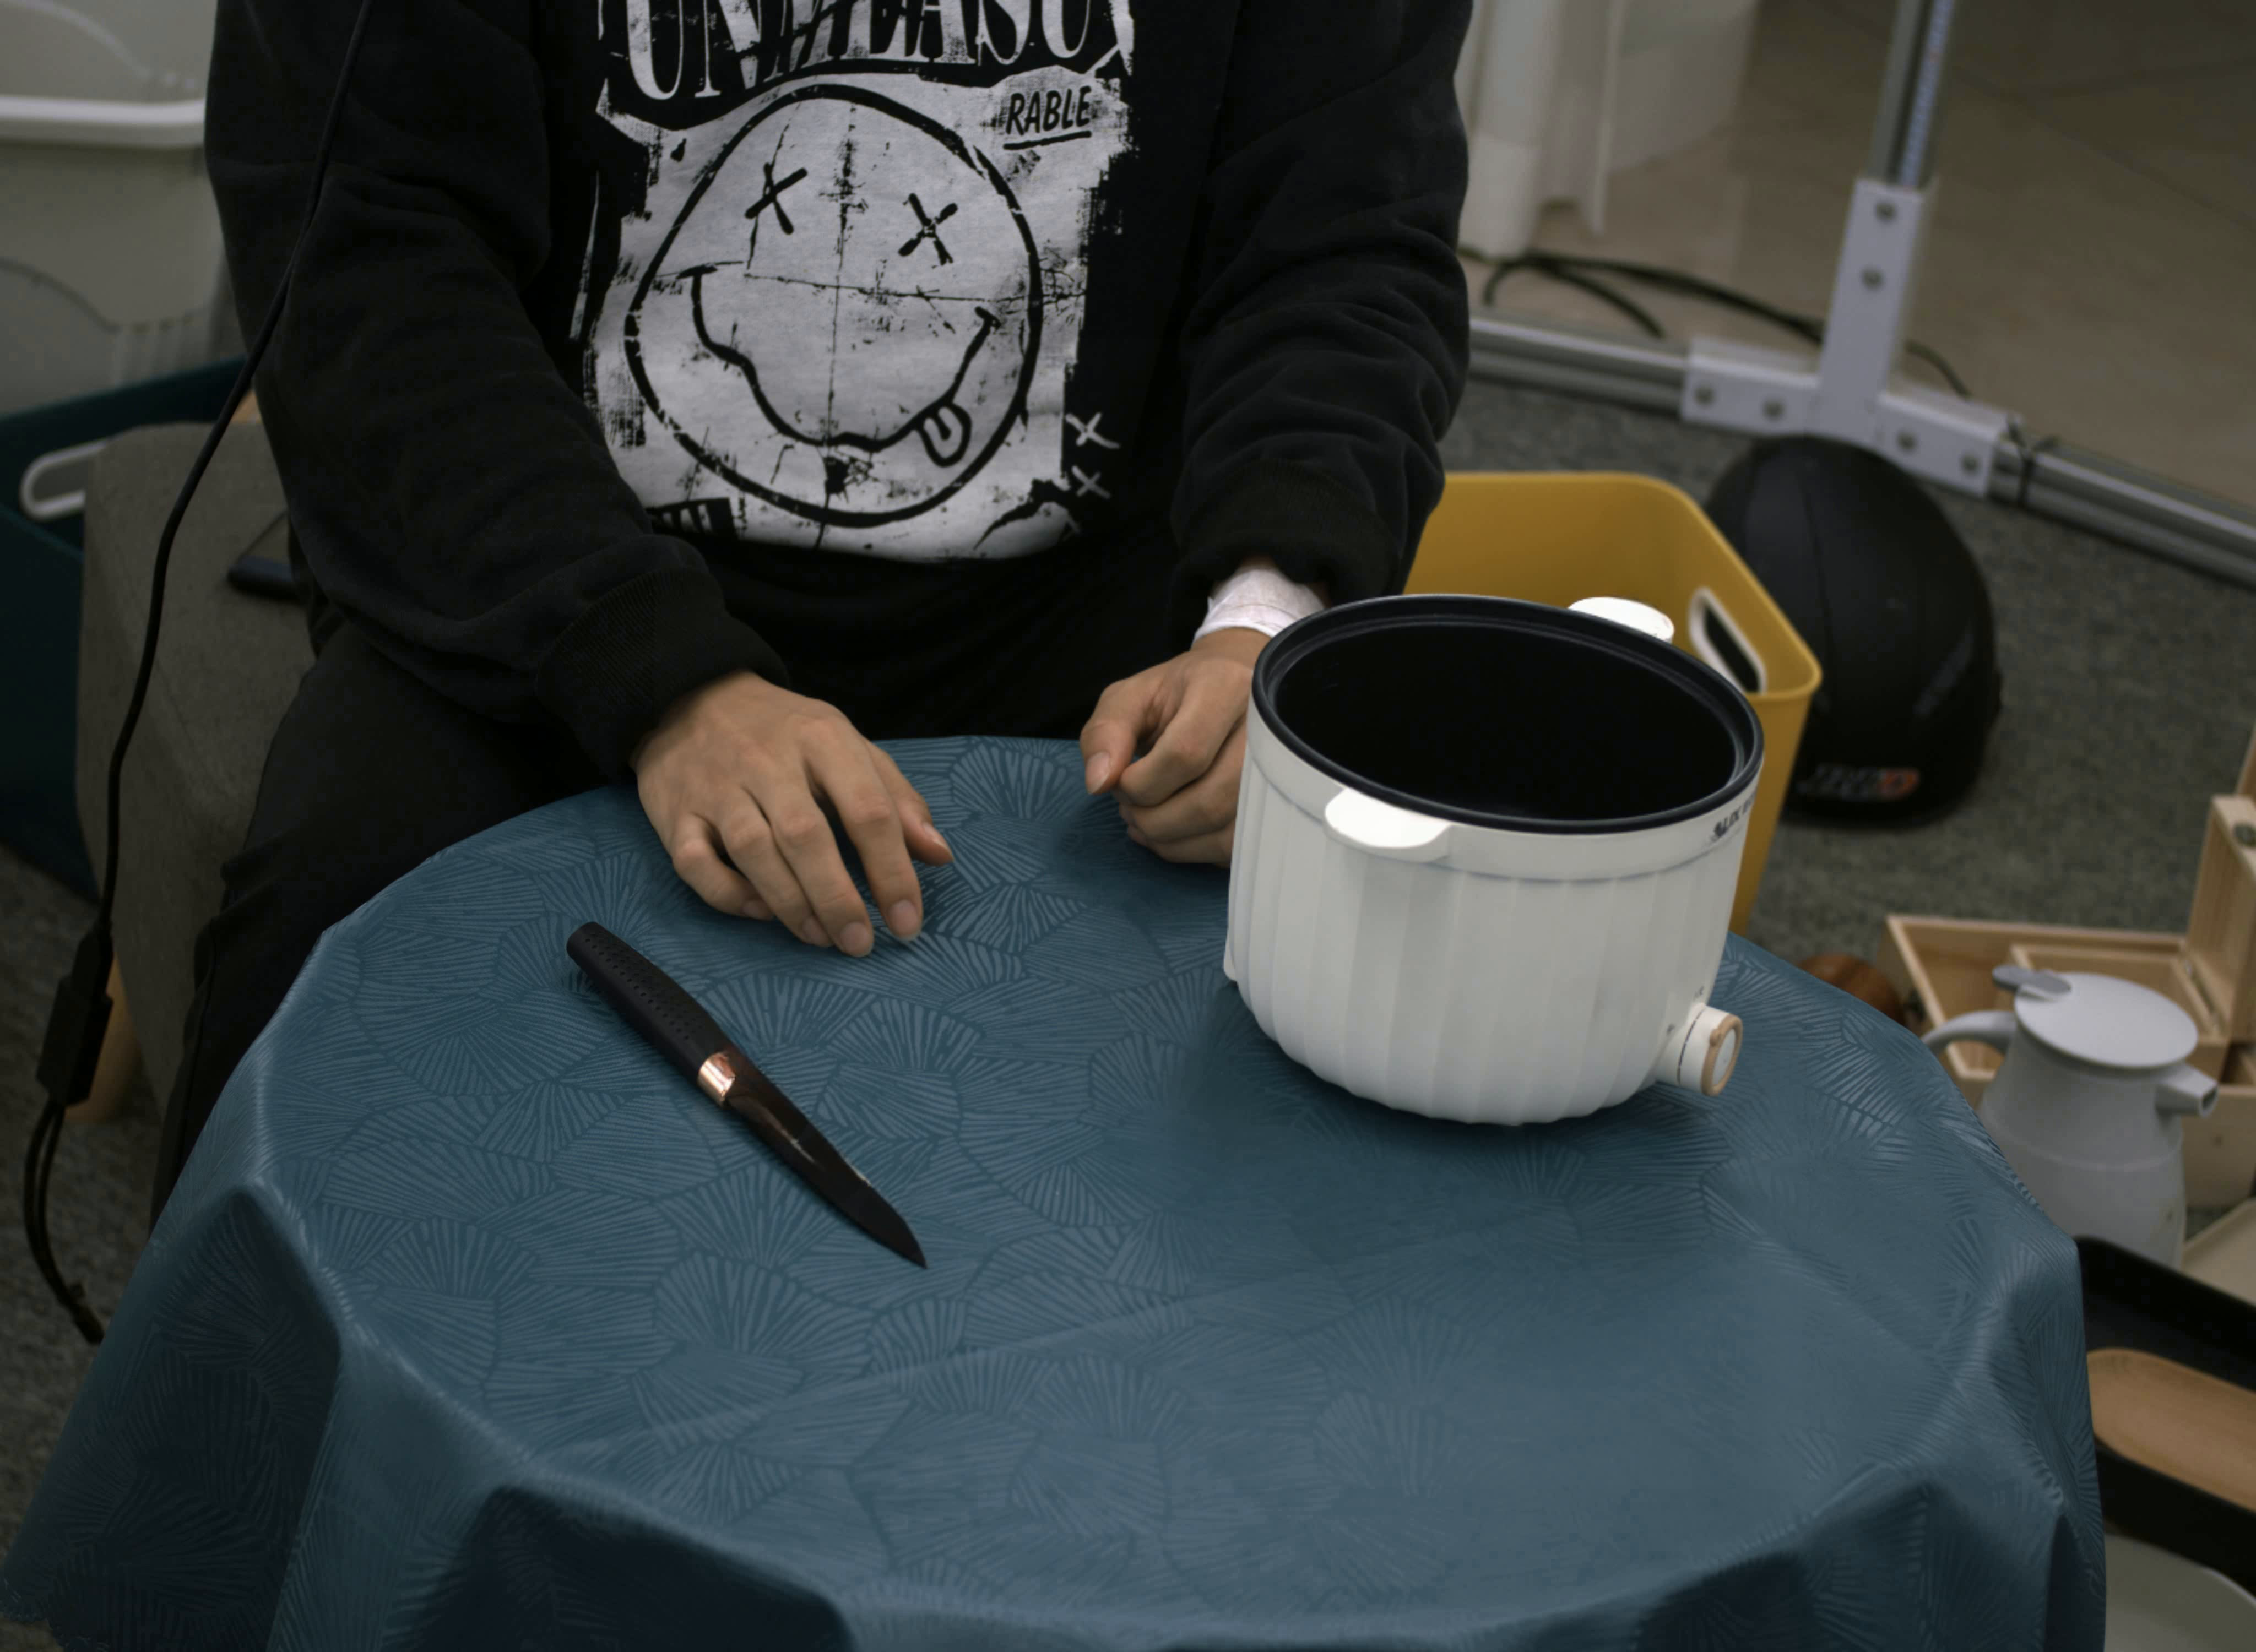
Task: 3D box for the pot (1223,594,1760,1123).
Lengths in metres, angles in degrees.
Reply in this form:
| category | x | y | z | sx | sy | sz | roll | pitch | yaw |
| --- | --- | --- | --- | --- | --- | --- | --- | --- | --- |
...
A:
| category | x | y | z | sx | sy | sz | roll | pitch | yaw |
| --- | --- | --- | --- | --- | --- | --- | --- | --- | --- |
| pot | 0.131 | 0.017 | 1.892 | 0.191 | 0.142 | 0.240 | 15 | 29 | 23 |

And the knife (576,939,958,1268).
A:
| category | x | y | z | sx | sy | sz | roll | pitch | yaw |
| --- | --- | --- | --- | --- | --- | --- | --- | --- | --- |
| knife | -0.127 | 0.094 | 1.825 | 0.026 | 0.017 | 0.227 | 4 | 23 | -41 |
